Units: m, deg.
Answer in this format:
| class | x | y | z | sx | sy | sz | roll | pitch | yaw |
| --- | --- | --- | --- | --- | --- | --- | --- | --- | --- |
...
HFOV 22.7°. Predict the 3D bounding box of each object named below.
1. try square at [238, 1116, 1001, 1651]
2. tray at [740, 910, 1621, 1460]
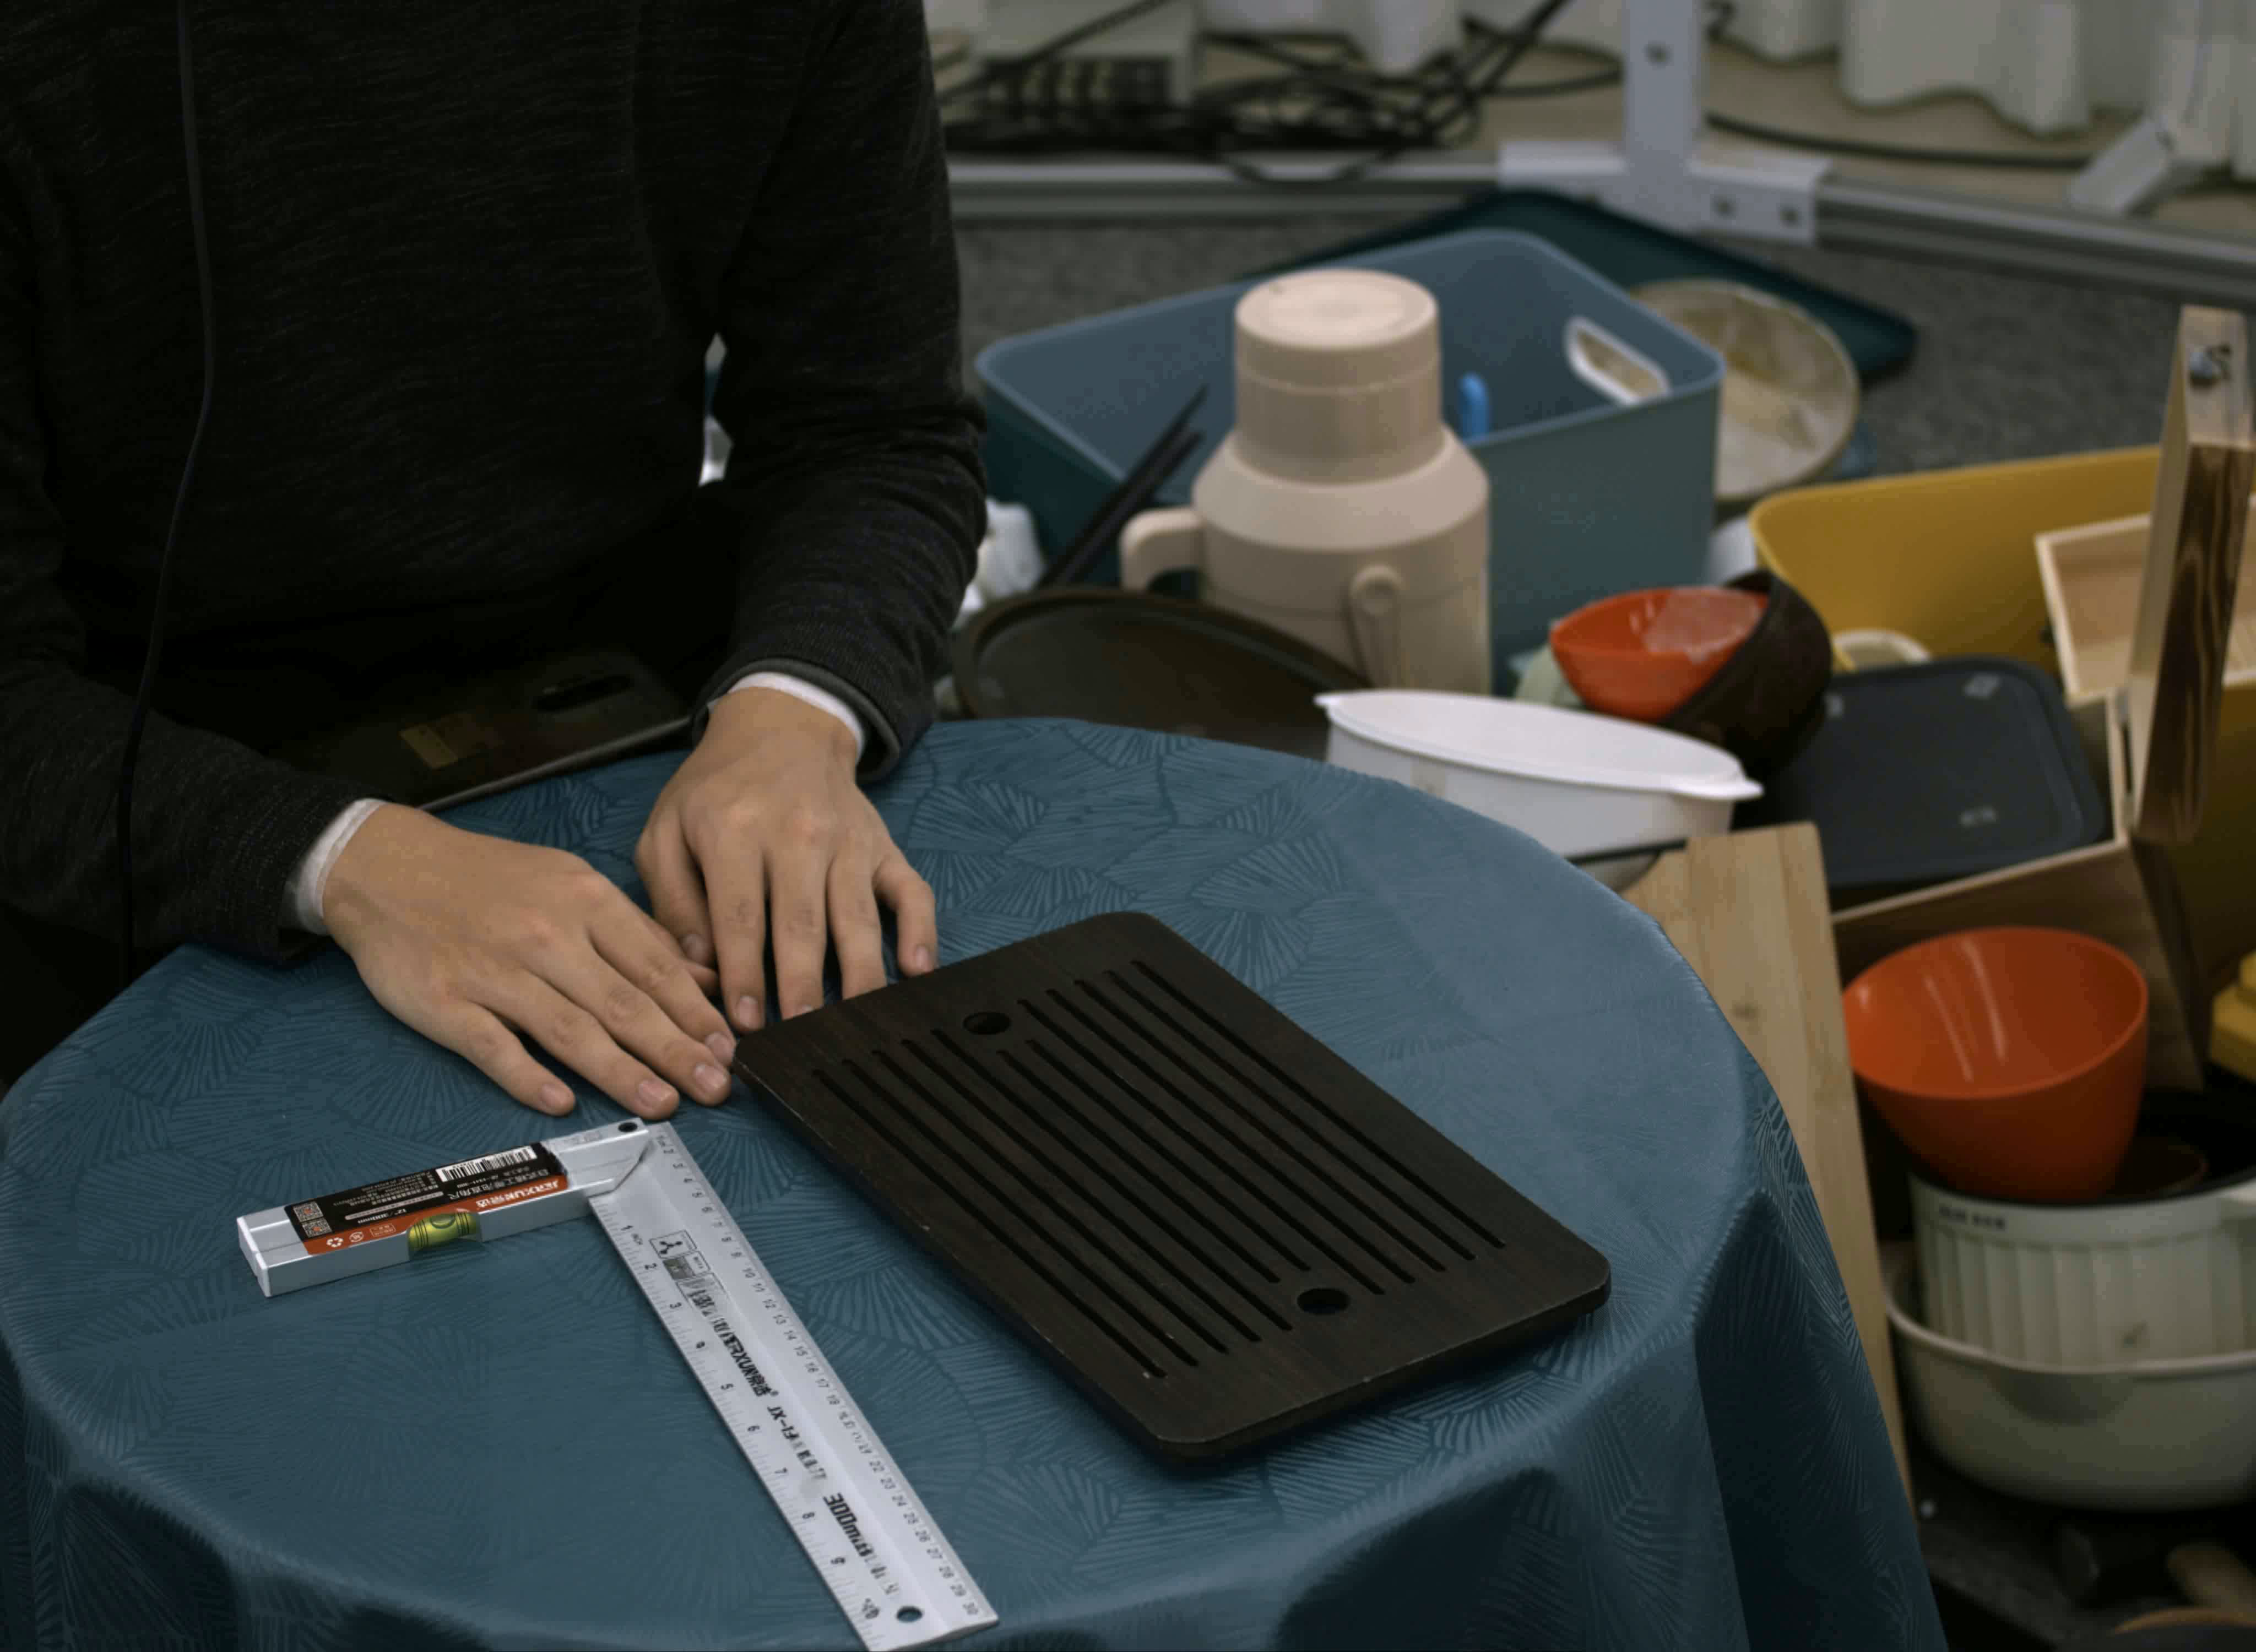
| class | x | y | z | sx | sy | sz | roll | pitch | yaw |
| --- | --- | --- | --- | --- | --- | --- | --- | --- | --- |
| try square | -0.166 | 0.183 | 1.751 | 0.153 | 0.016 | 0.315 | -14 | 30 | -18 |
| tray | 0.011 | 0.114 | 1.854 | 0.171 | 0.018 | 0.307 | -18 | 31 | -26 |
